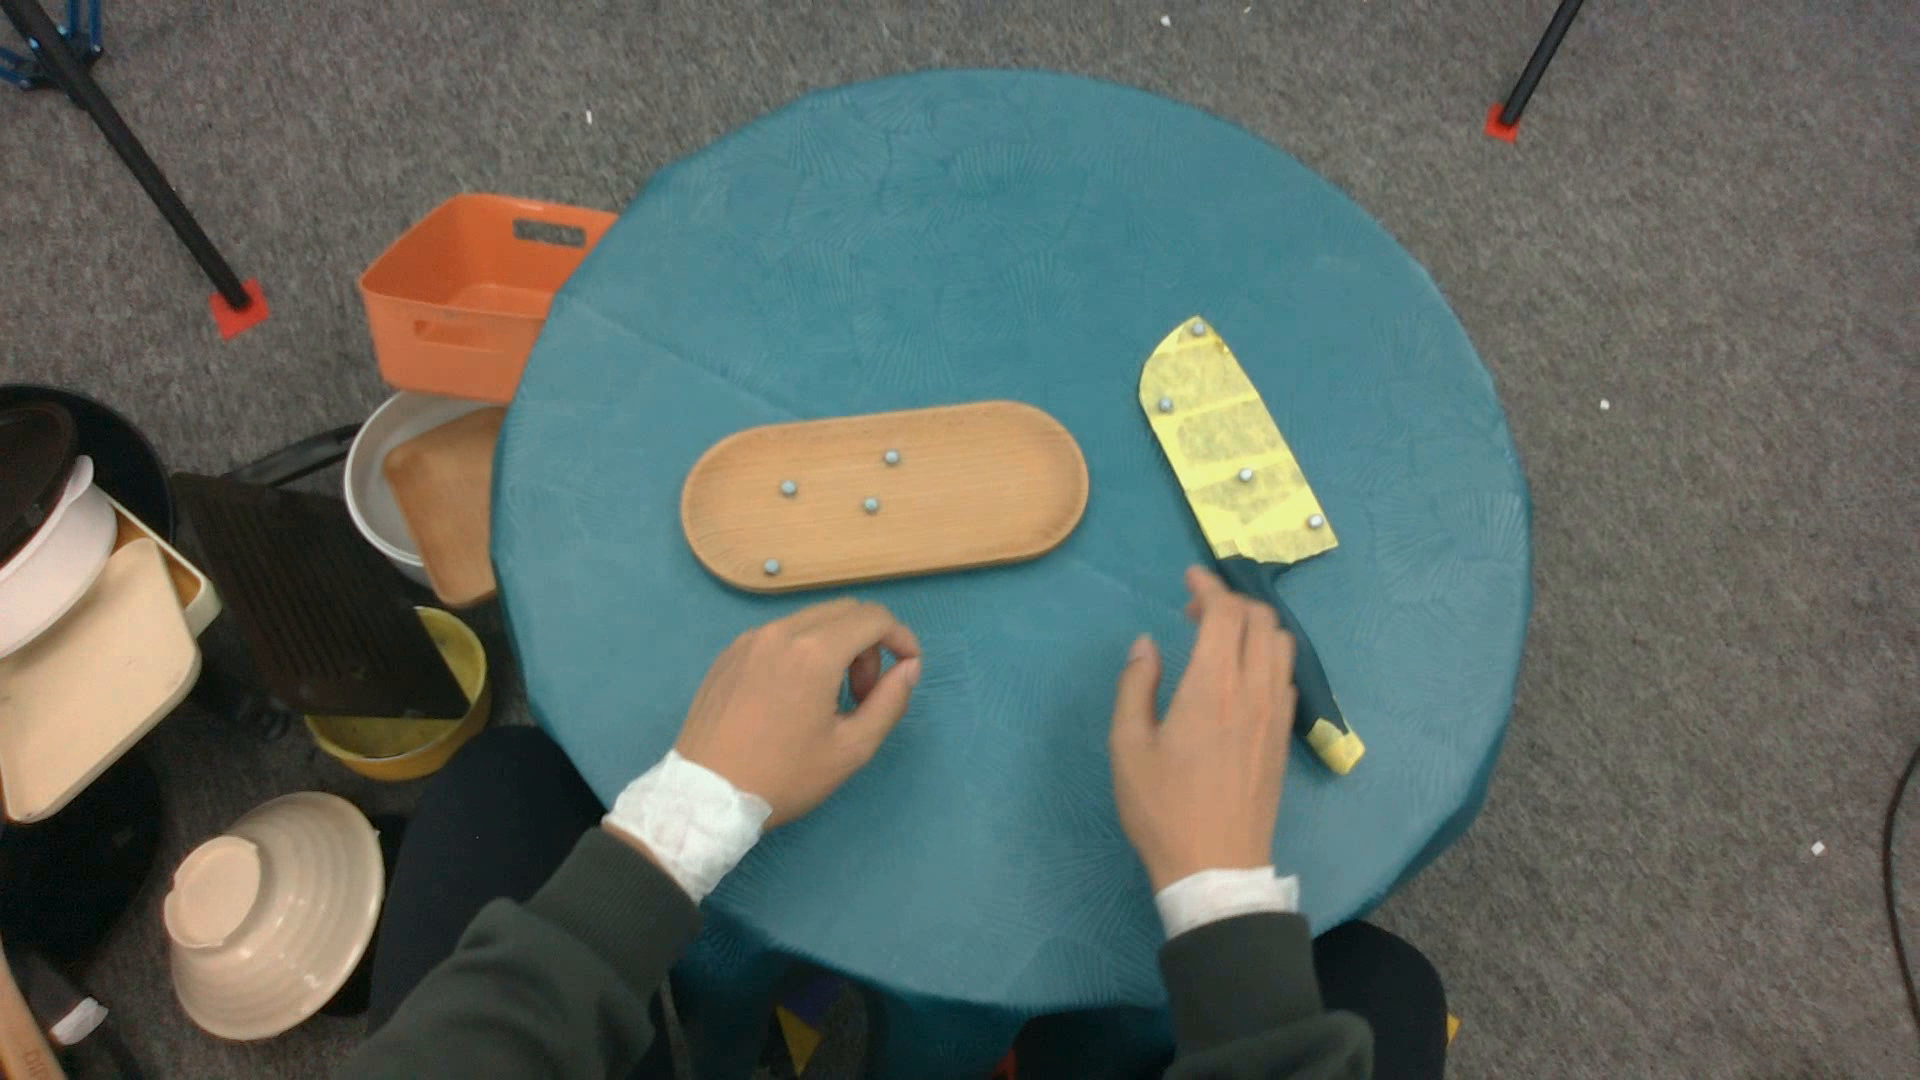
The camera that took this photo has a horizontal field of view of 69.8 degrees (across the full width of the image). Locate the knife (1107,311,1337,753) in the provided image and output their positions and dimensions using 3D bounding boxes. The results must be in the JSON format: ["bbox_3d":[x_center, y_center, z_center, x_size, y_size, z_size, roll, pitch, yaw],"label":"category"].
[{"bbox_3d":[0.158,-0.015,0.796,0.081,0.027,0.290,-15,67,-12],"label":"knife"}]

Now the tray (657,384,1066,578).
[{"bbox_3d":[-0.054,-0.034,0.779,0.231,0.020,0.102,-7,68,-11],"label":"tray"}]
